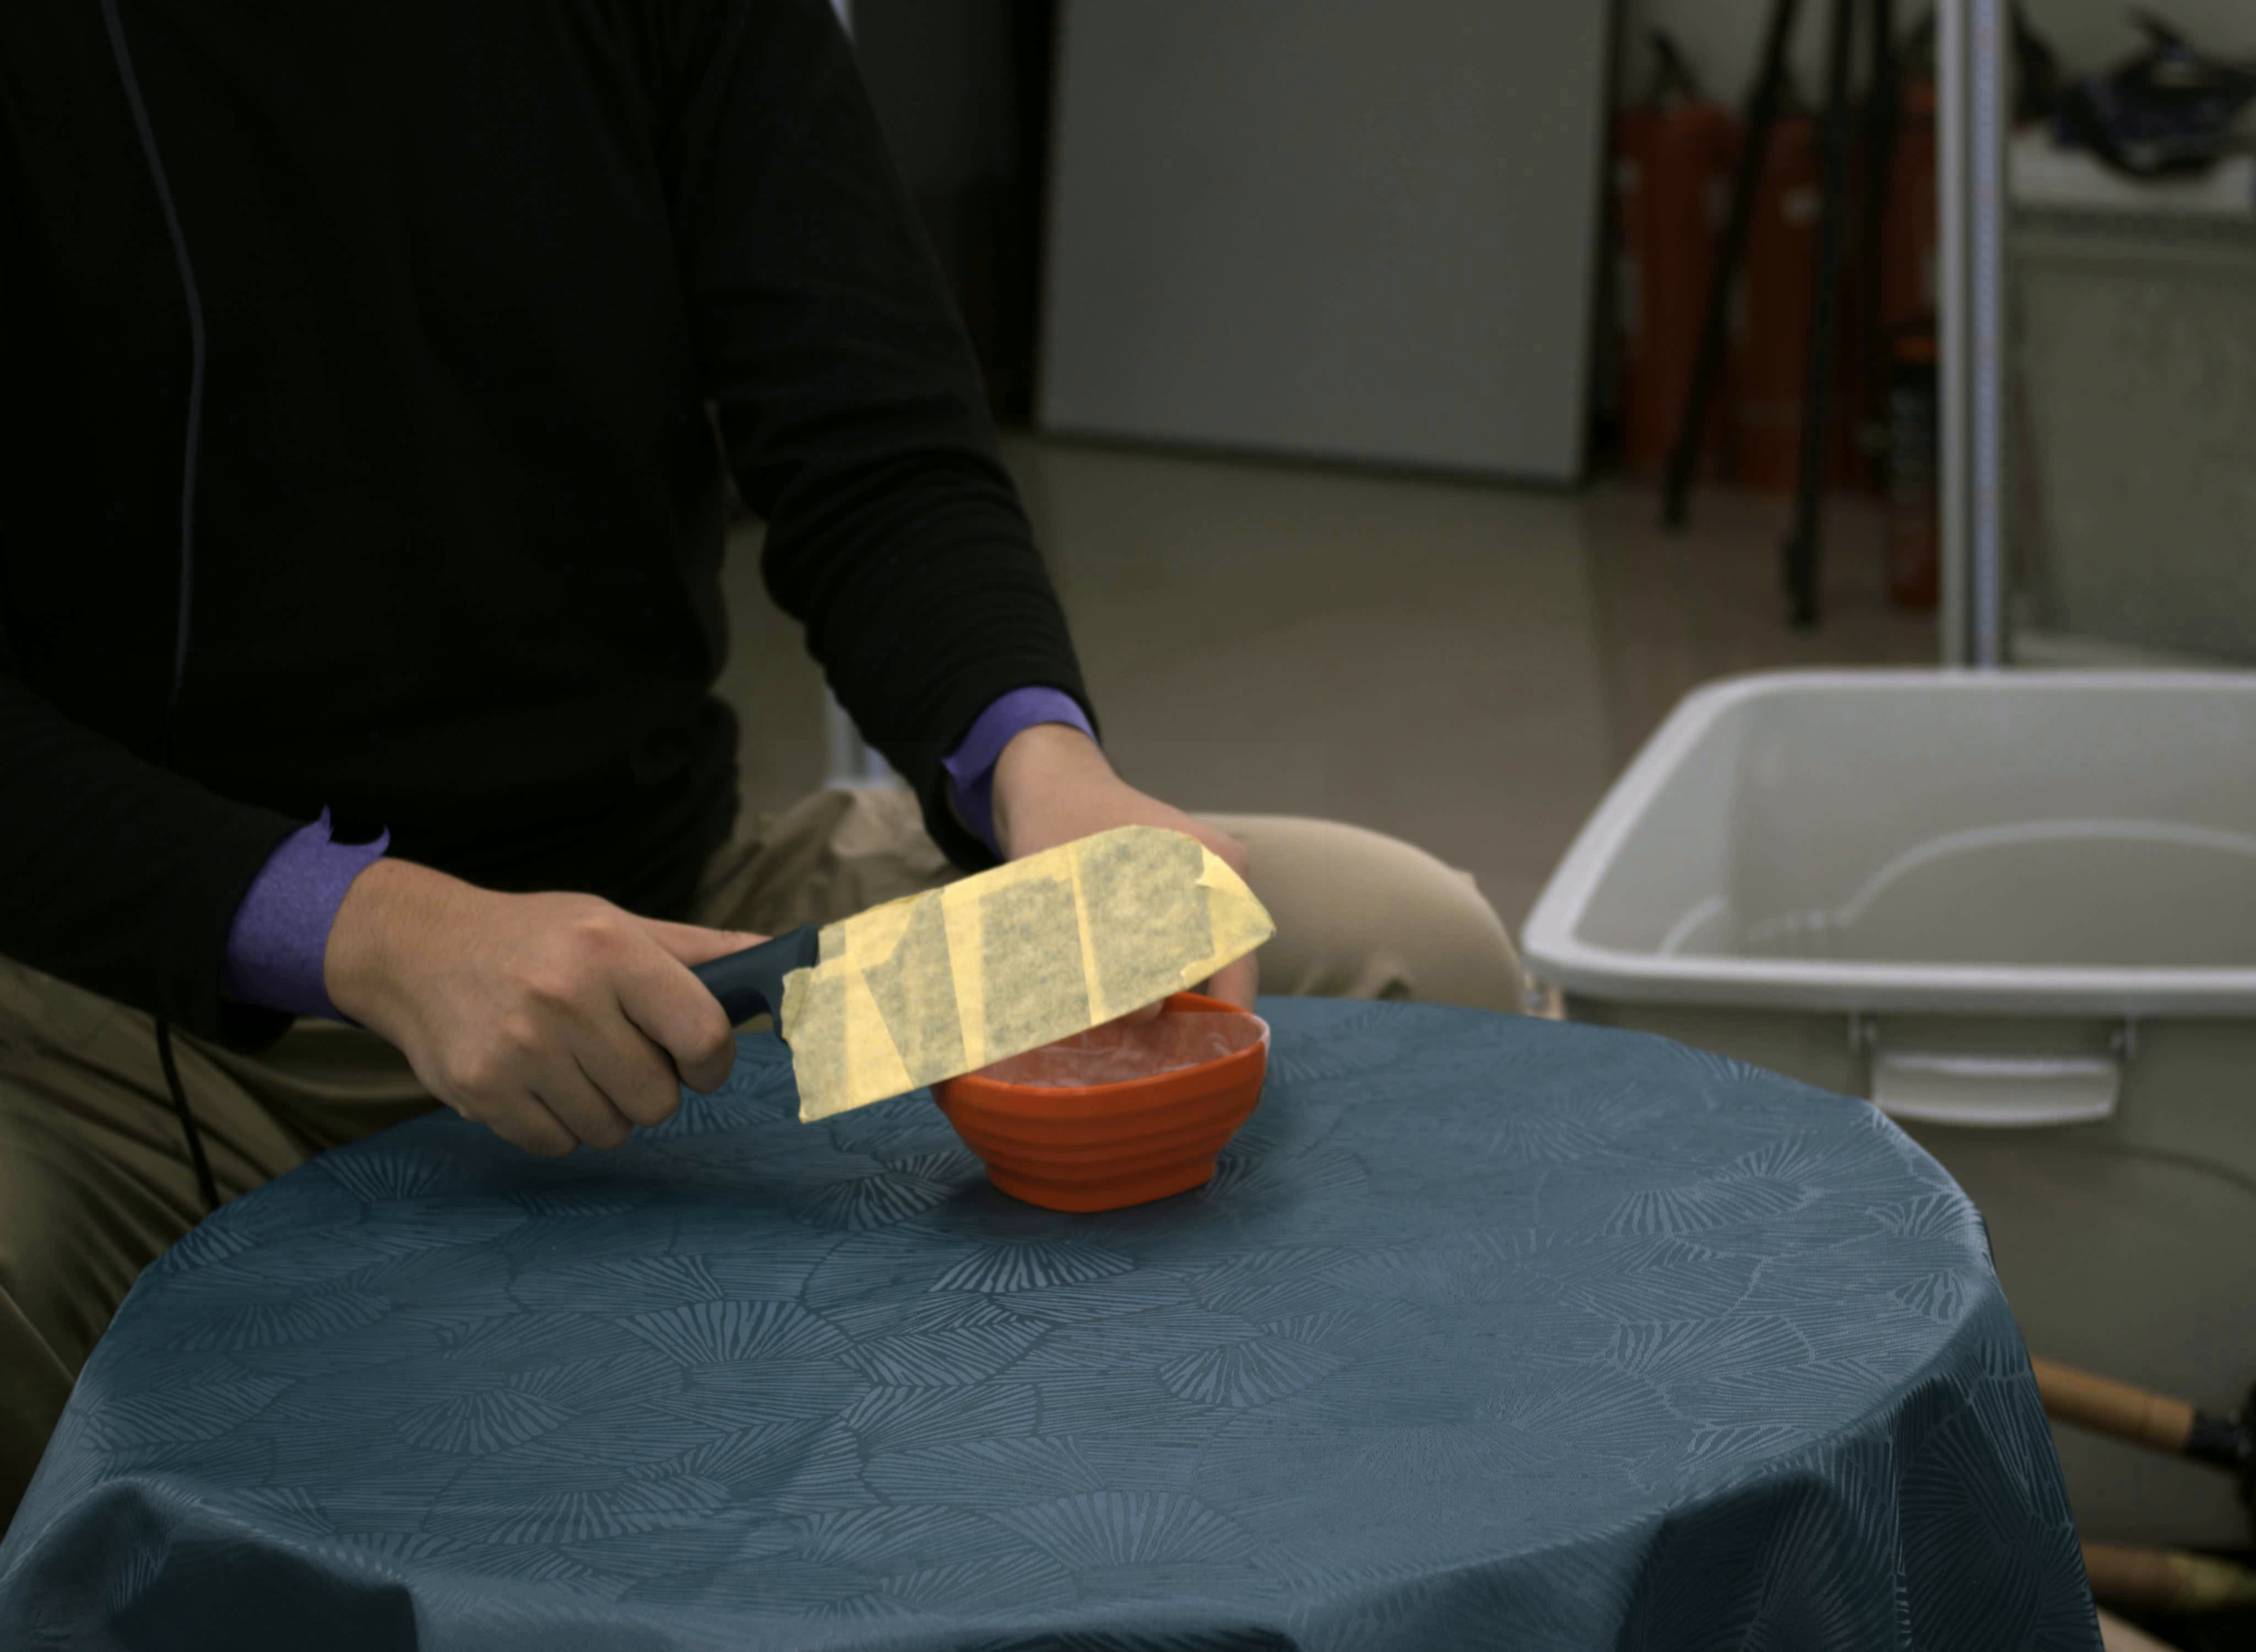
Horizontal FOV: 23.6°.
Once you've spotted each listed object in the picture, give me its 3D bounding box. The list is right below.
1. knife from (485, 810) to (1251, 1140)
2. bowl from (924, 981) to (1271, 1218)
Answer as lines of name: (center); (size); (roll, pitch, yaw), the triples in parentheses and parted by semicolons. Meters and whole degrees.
knife: (-0.088, 0.060, 1.782); (0.289, 0.027, 0.082); (-19, 52, 21)
bowl: (-0.009, 0.092, 1.783); (0.117, 0.052, 0.119); (-5, 15, 0)
